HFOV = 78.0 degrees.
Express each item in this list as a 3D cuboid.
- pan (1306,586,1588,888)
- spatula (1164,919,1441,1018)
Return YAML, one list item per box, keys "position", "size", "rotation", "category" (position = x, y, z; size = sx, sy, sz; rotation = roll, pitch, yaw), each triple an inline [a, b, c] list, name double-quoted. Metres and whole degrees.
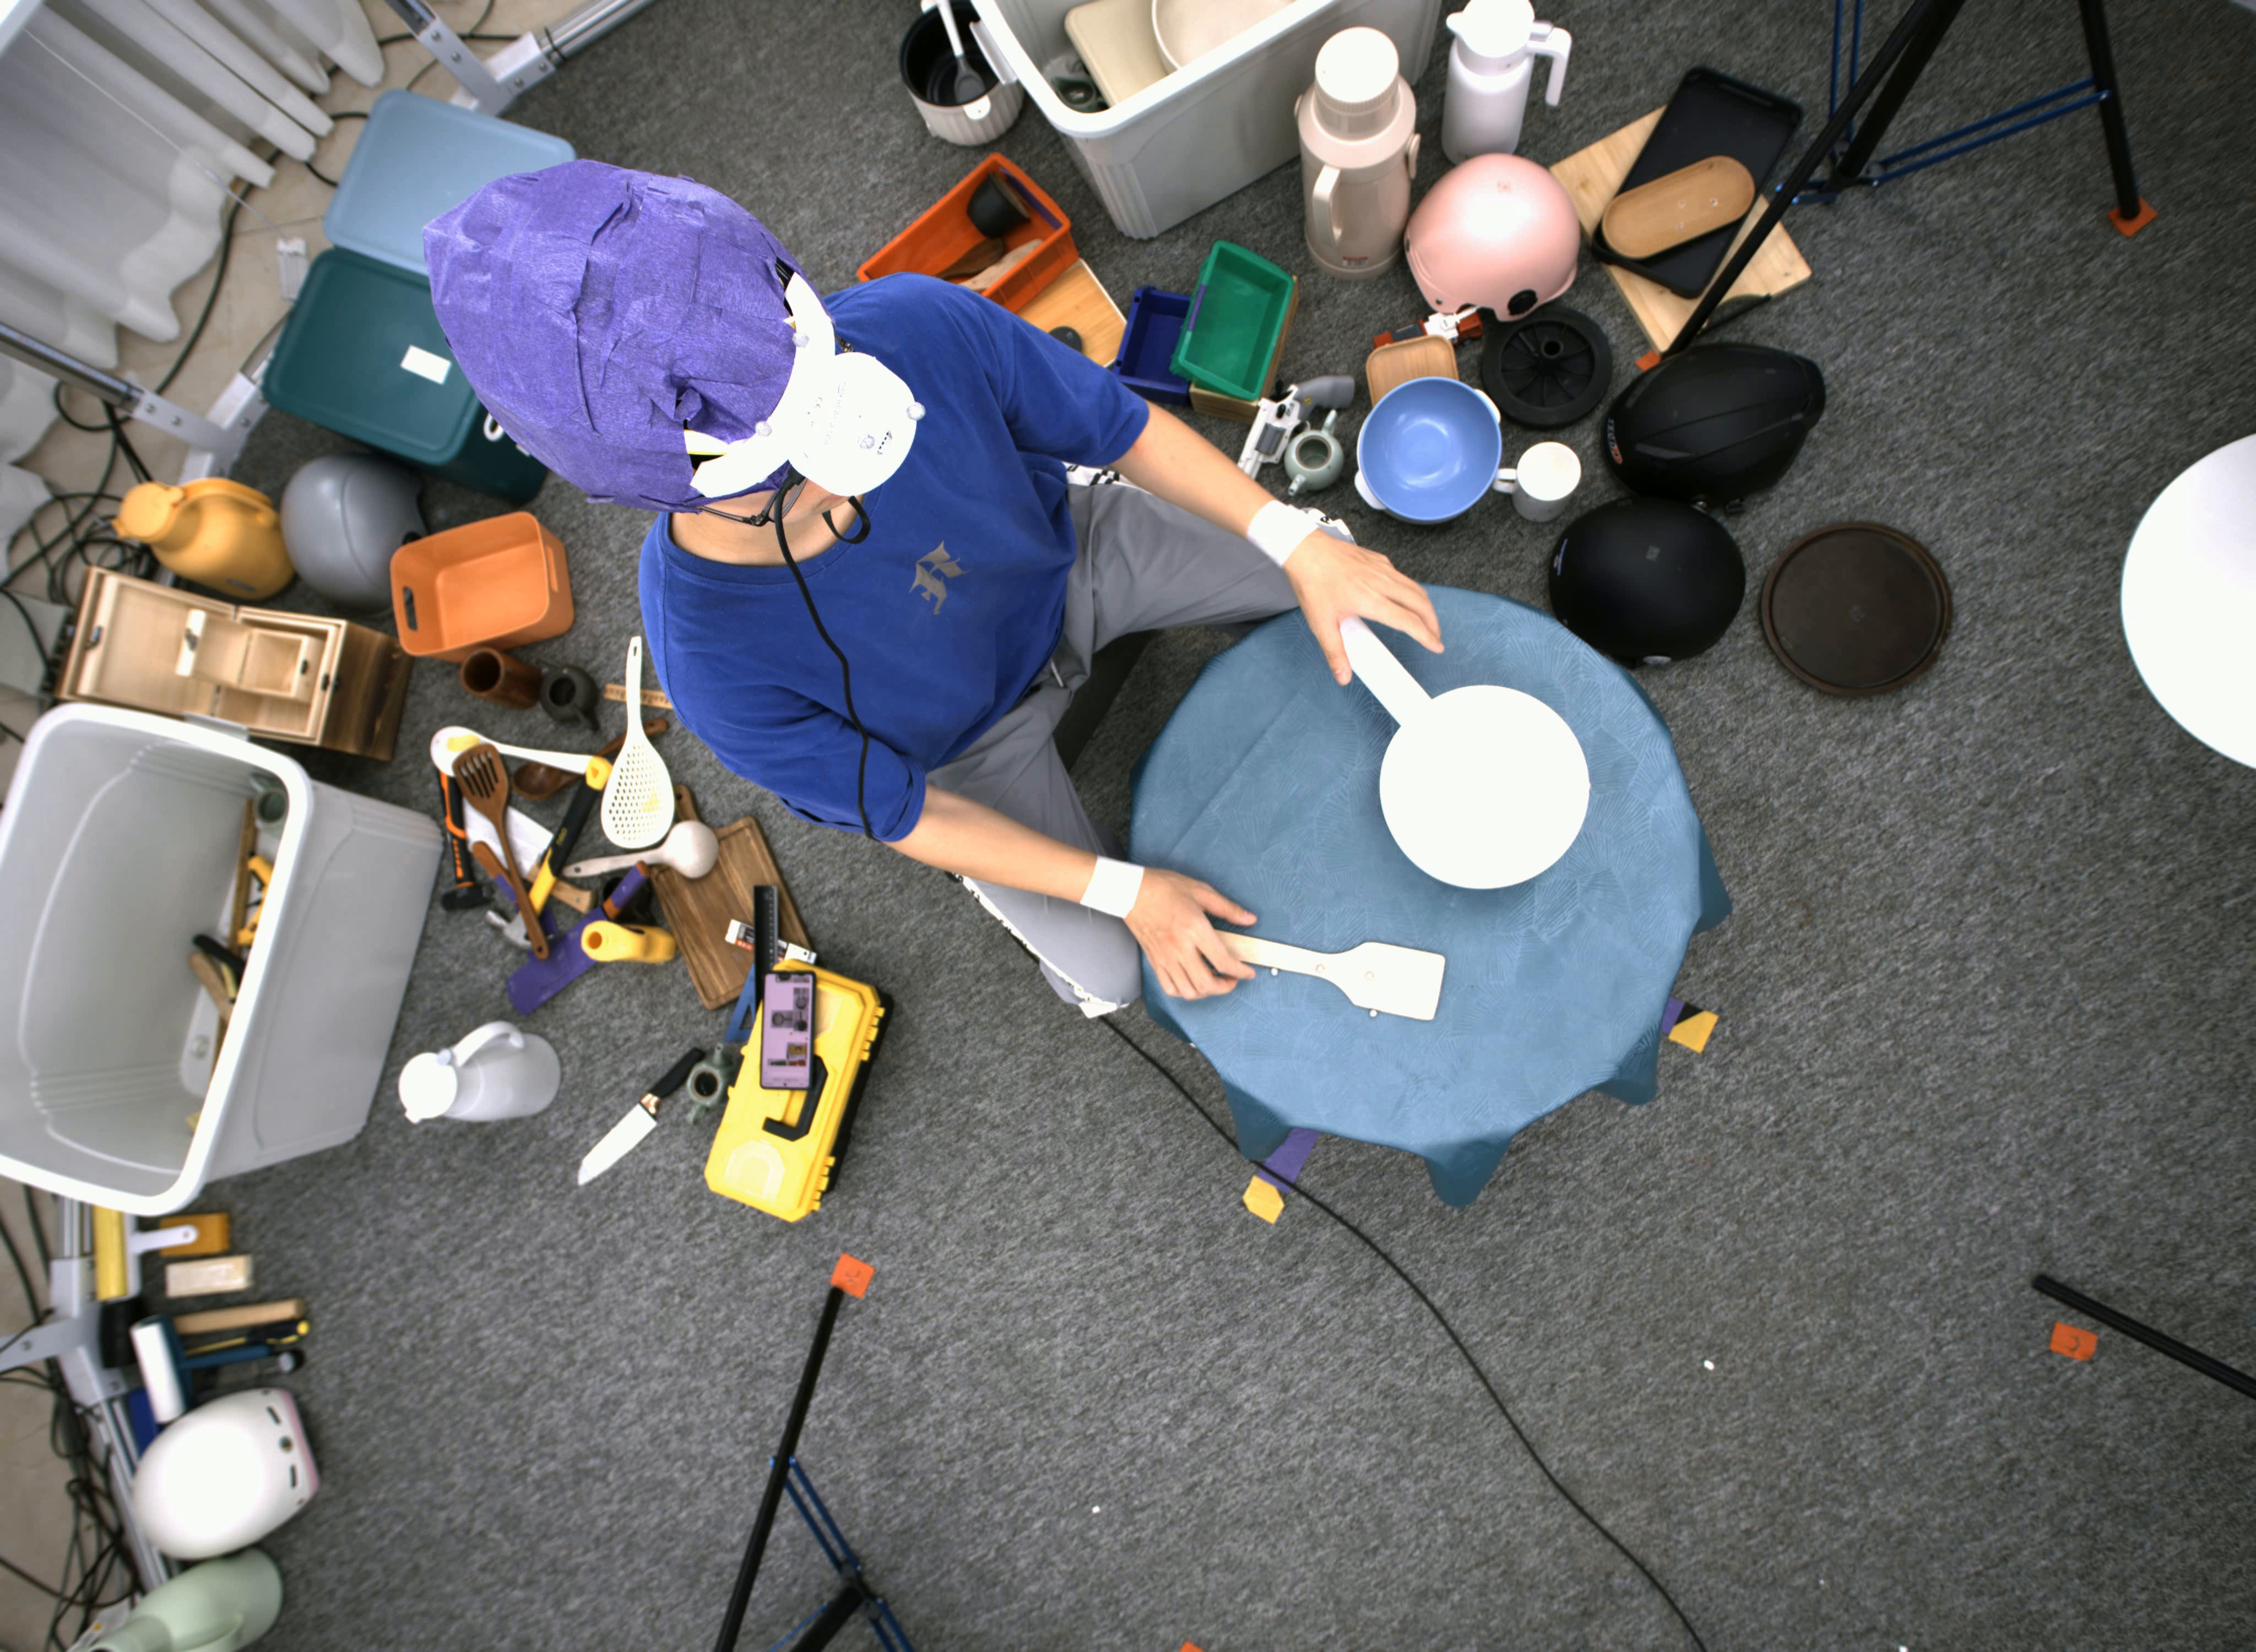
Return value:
- position: [0.311, -0.096, 1.410]
  size: [0.202, 0.102, 0.353]
  rotation: [-41, 81, 8]
  category: "pan"
- position: [0.180, 0.140, 1.467]
  size: [0.293, 0.010, 0.072]
  rotation: [11, 90, 11]
  category: "spatula"
